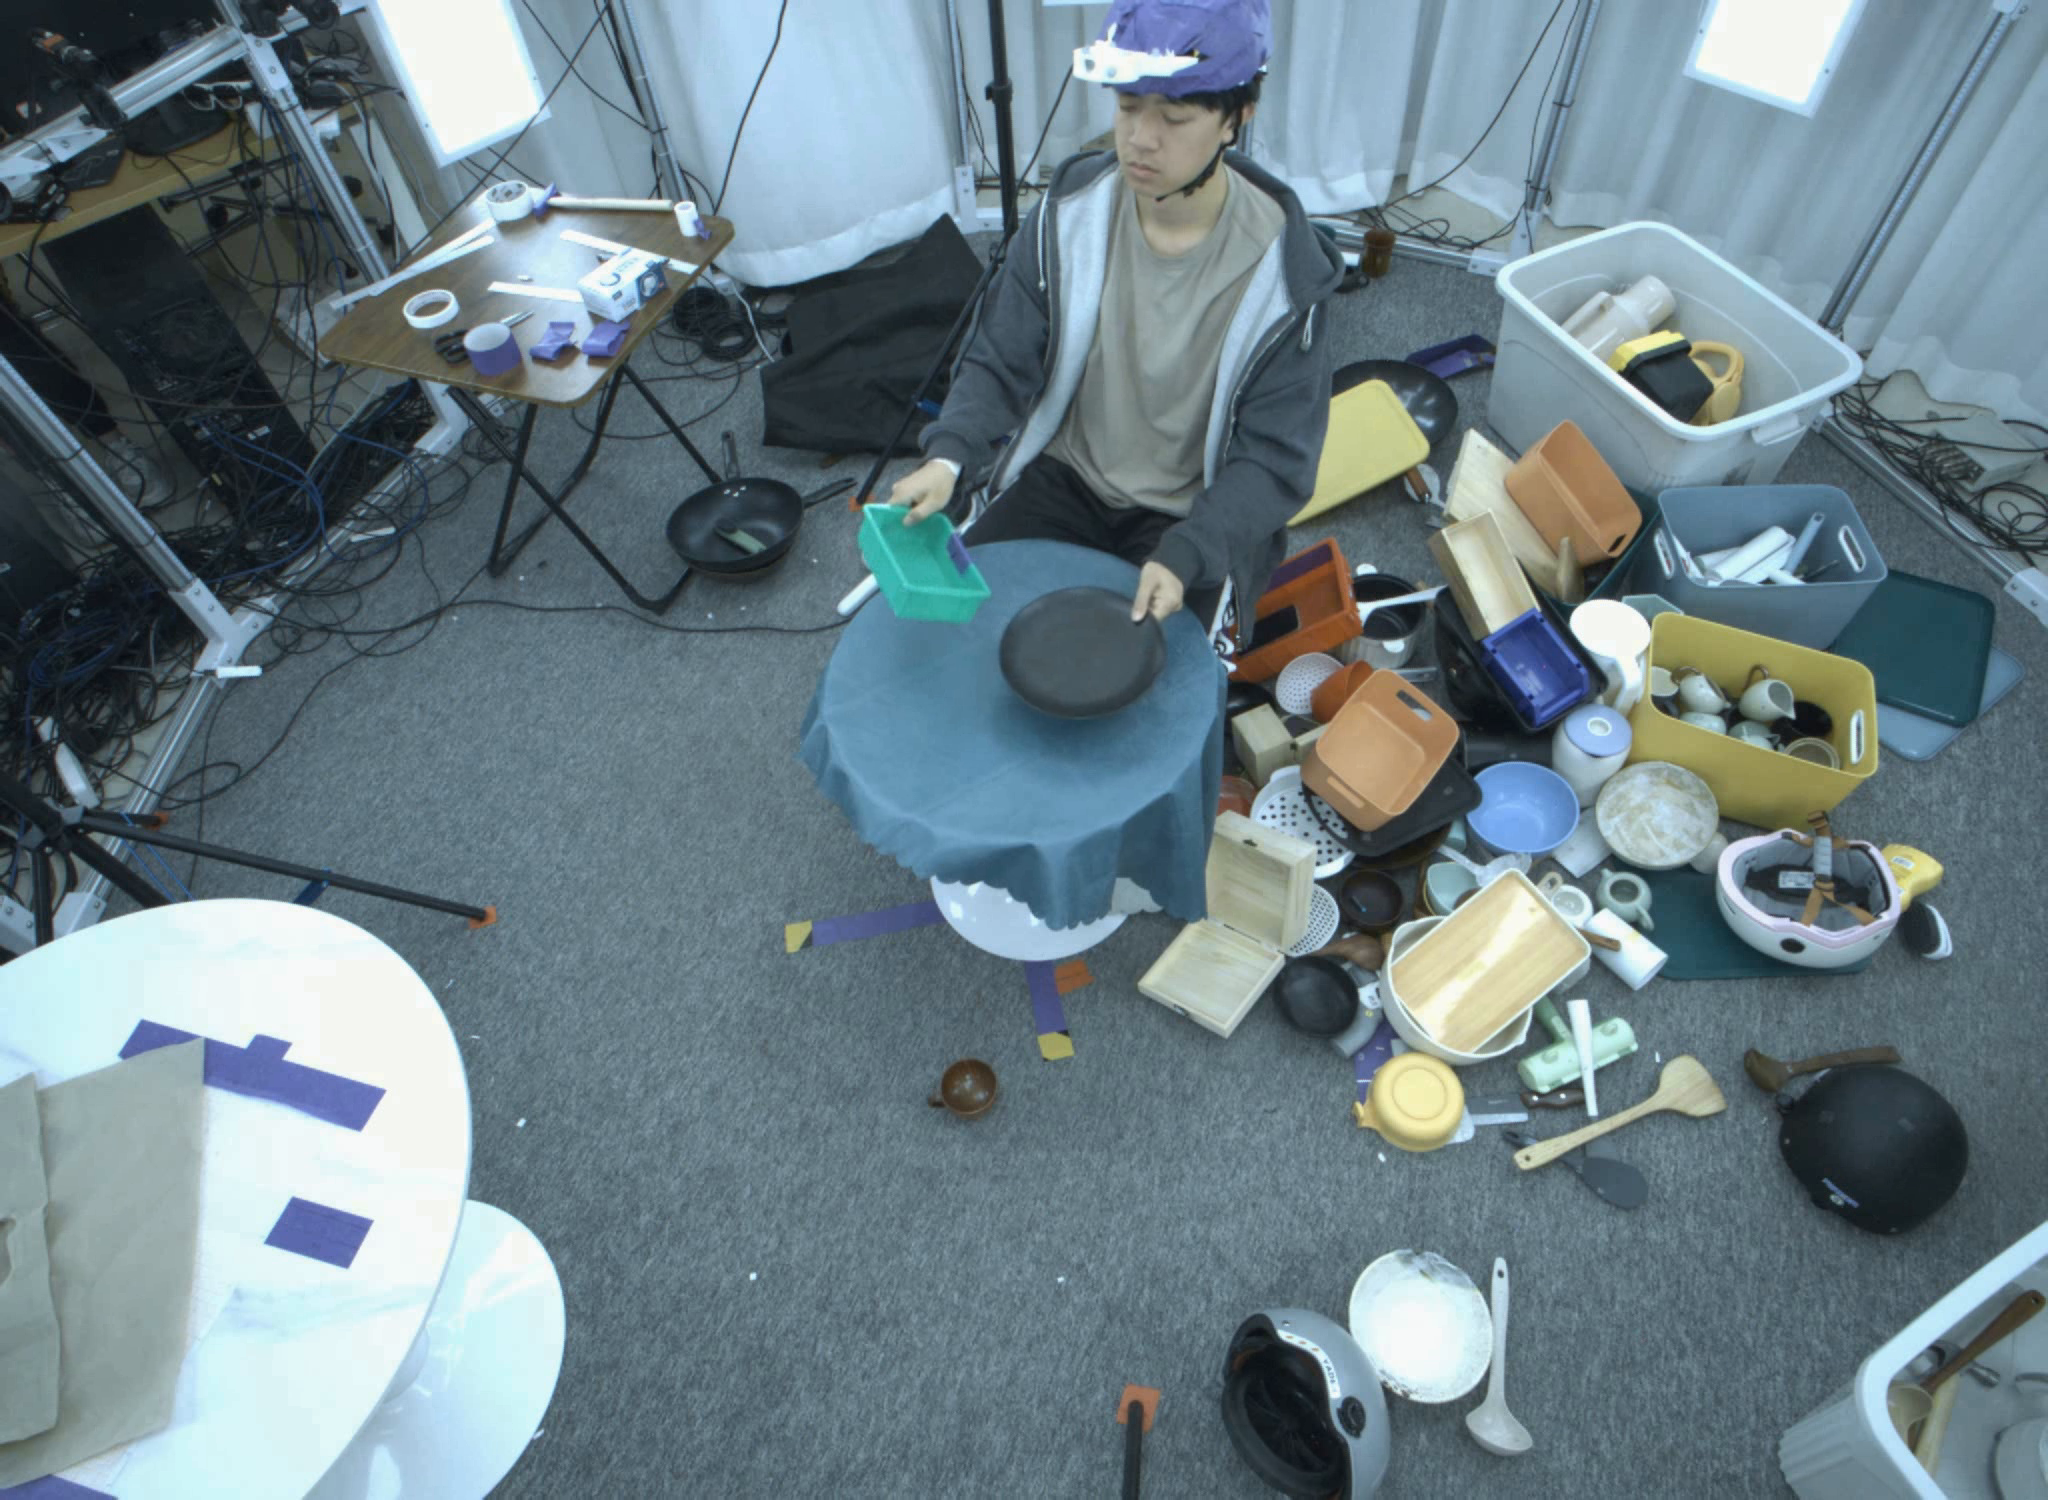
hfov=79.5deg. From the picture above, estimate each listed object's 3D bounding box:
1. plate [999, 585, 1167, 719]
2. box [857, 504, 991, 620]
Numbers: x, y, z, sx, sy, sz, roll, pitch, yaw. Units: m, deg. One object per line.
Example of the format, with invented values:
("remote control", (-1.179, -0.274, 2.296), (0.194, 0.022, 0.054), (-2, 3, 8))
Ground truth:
("plate", (0.085, -0.140, 1.785), (0.244, 0.024, 0.242), (-1, 57, 3))
("box", (-0.151, -0.266, 1.740), (0.141, 0.065, 0.206), (1, 43, -37))
